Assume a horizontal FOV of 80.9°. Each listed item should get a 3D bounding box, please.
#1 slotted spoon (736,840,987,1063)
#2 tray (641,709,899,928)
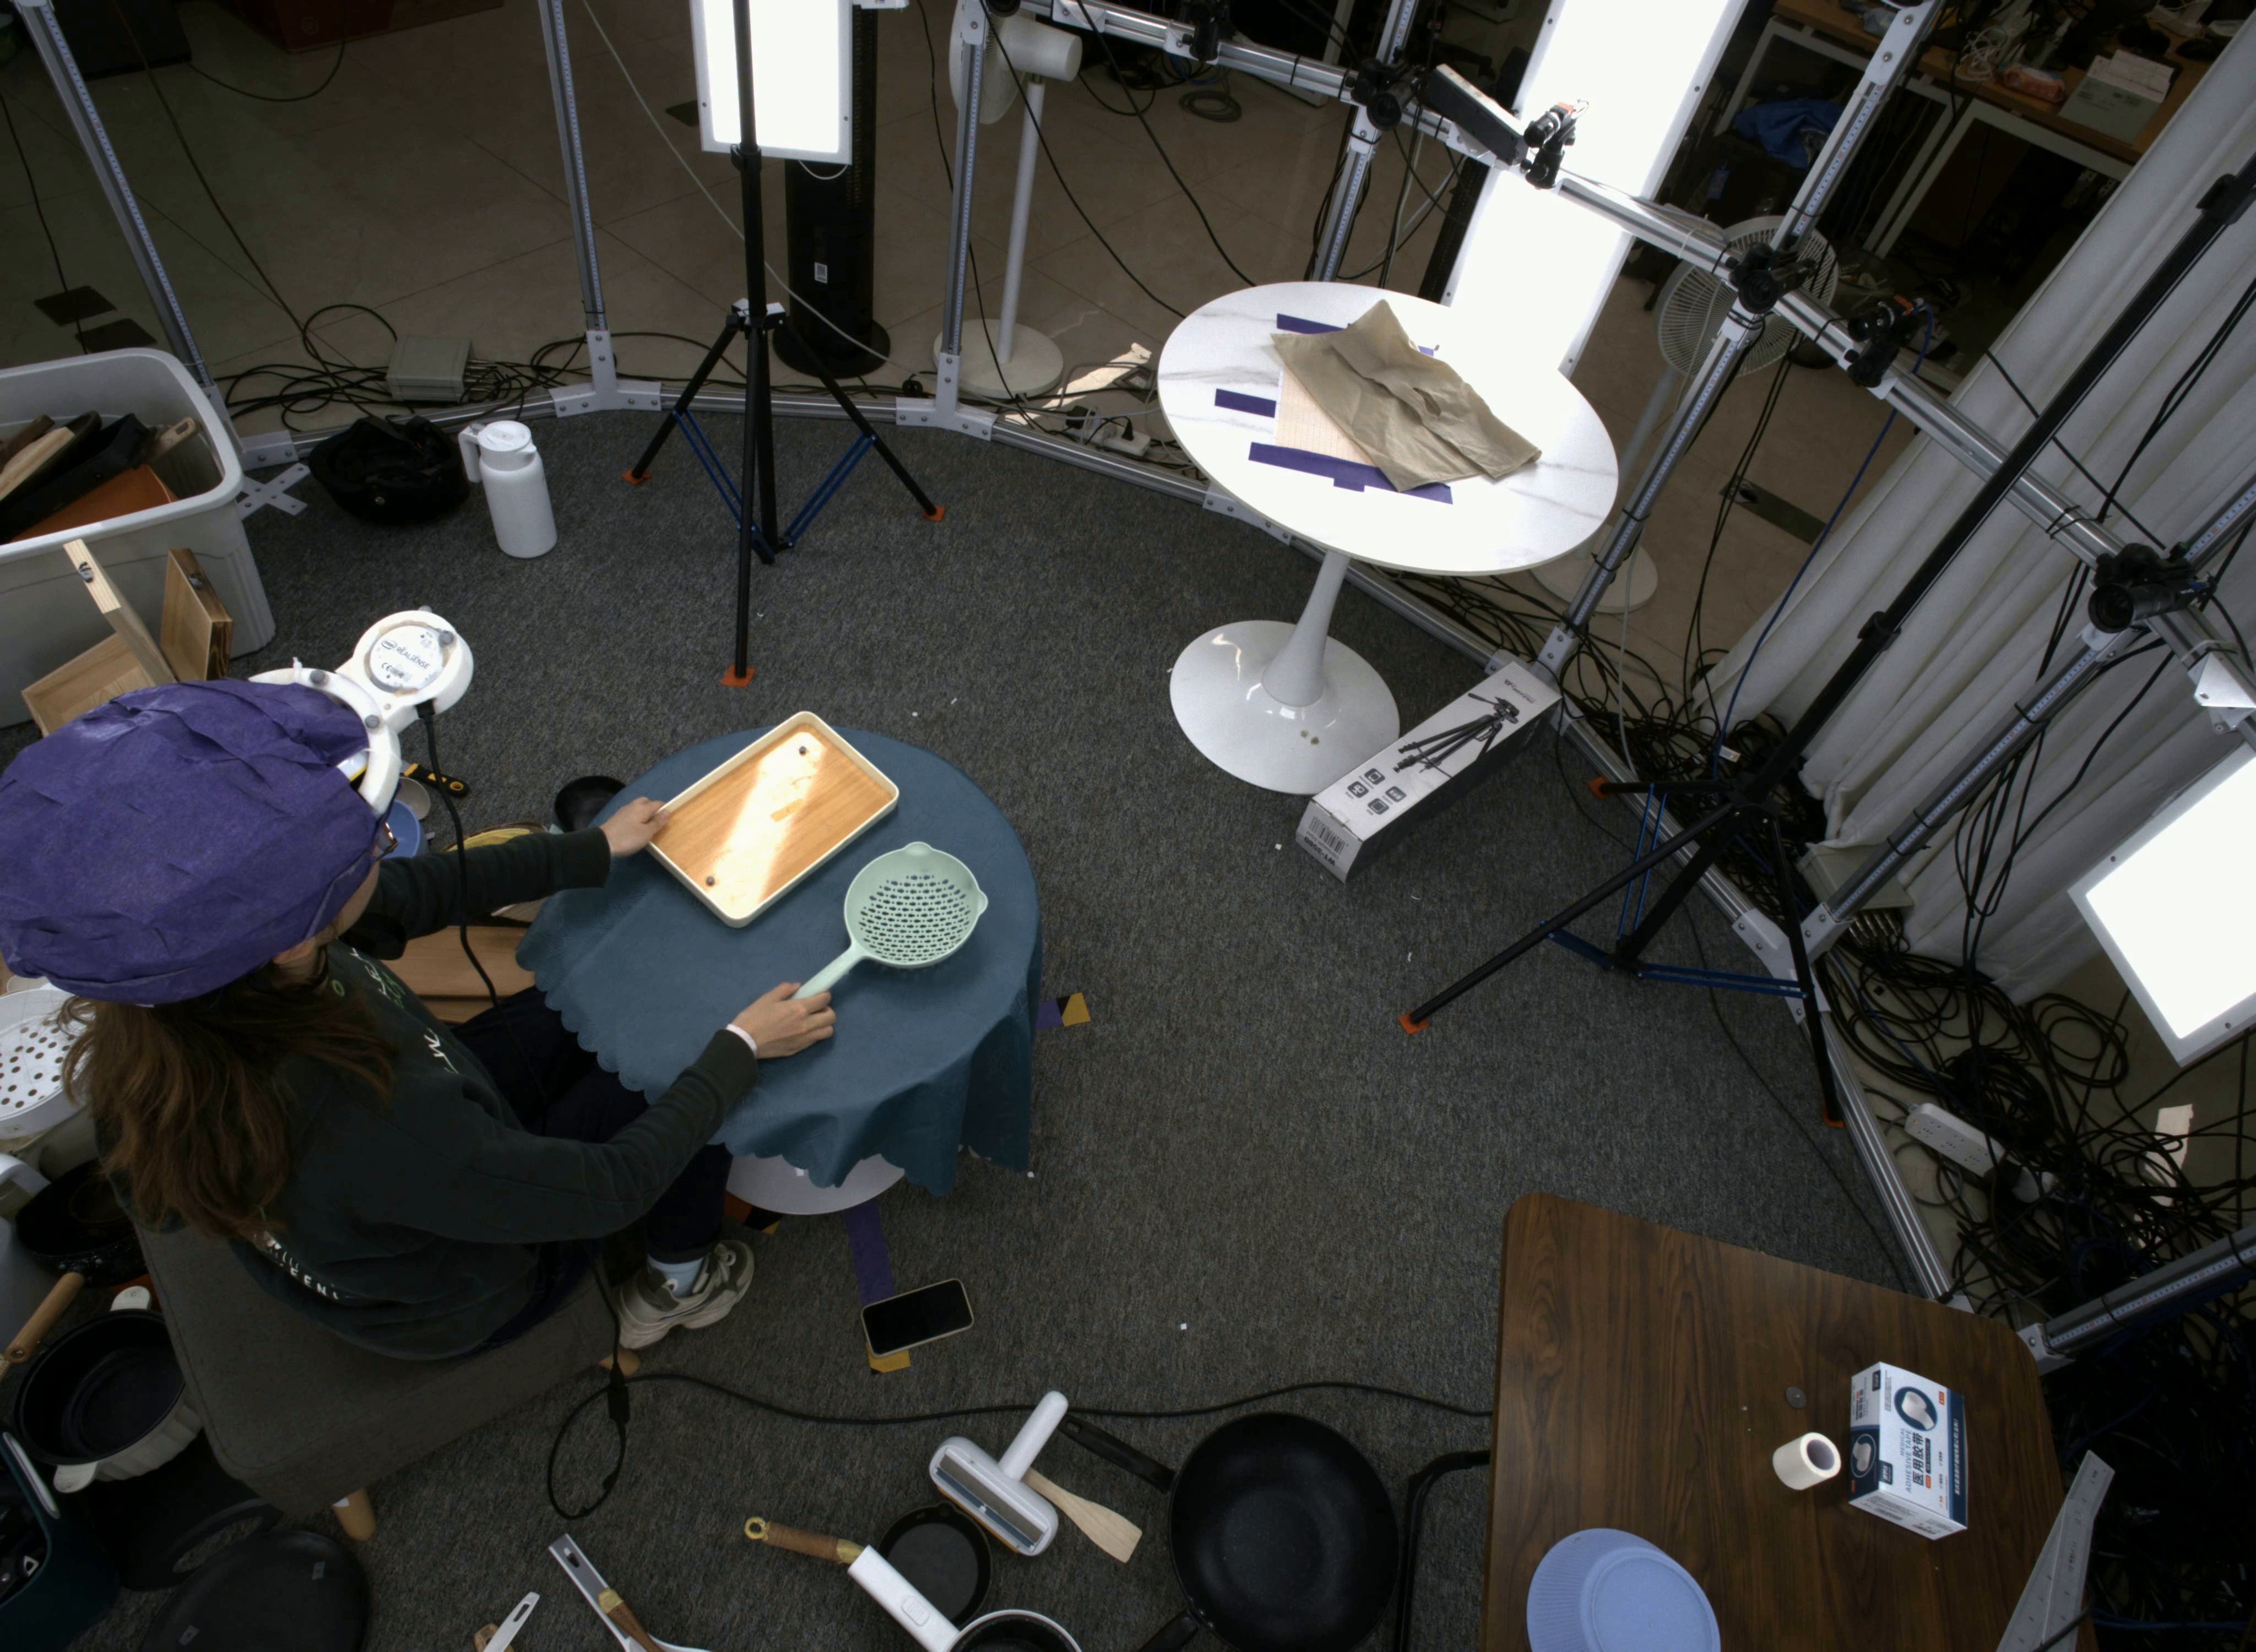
[{"bbox_3d":[-0.335,0.159,1.592,0.165,0.077,0.359,39,54,20],"label":"slotted spoon"},{"bbox_3d":[-0.466,-0.017,1.699,0.189,0.027,0.300,42,54,7],"label":"tray"}]
